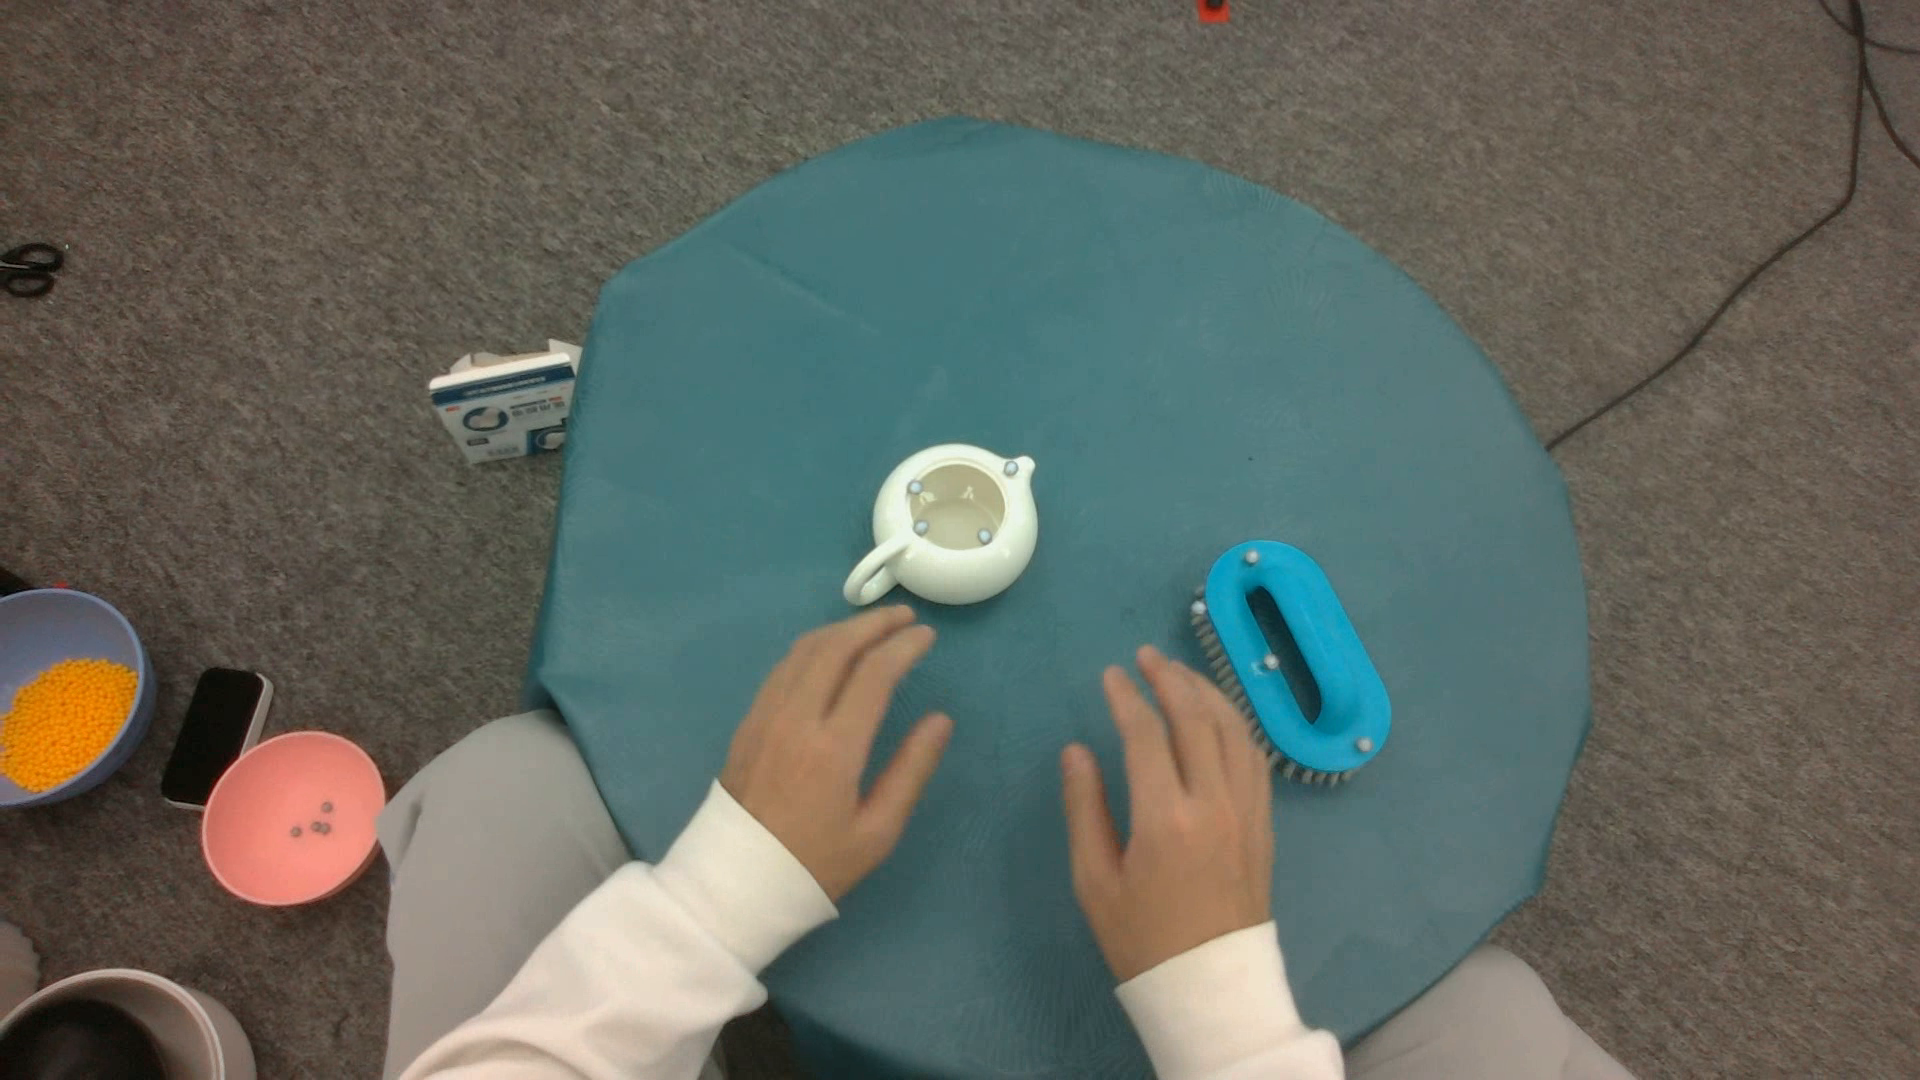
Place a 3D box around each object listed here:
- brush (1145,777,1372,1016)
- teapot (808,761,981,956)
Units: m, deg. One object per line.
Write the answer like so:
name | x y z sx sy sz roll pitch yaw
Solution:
brush | 0.166 0.184 0.755 0.084 0.063 0.142 -27 56 -22
teapot | -0.041 0.181 0.777 0.093 0.056 0.128 29 61 19
